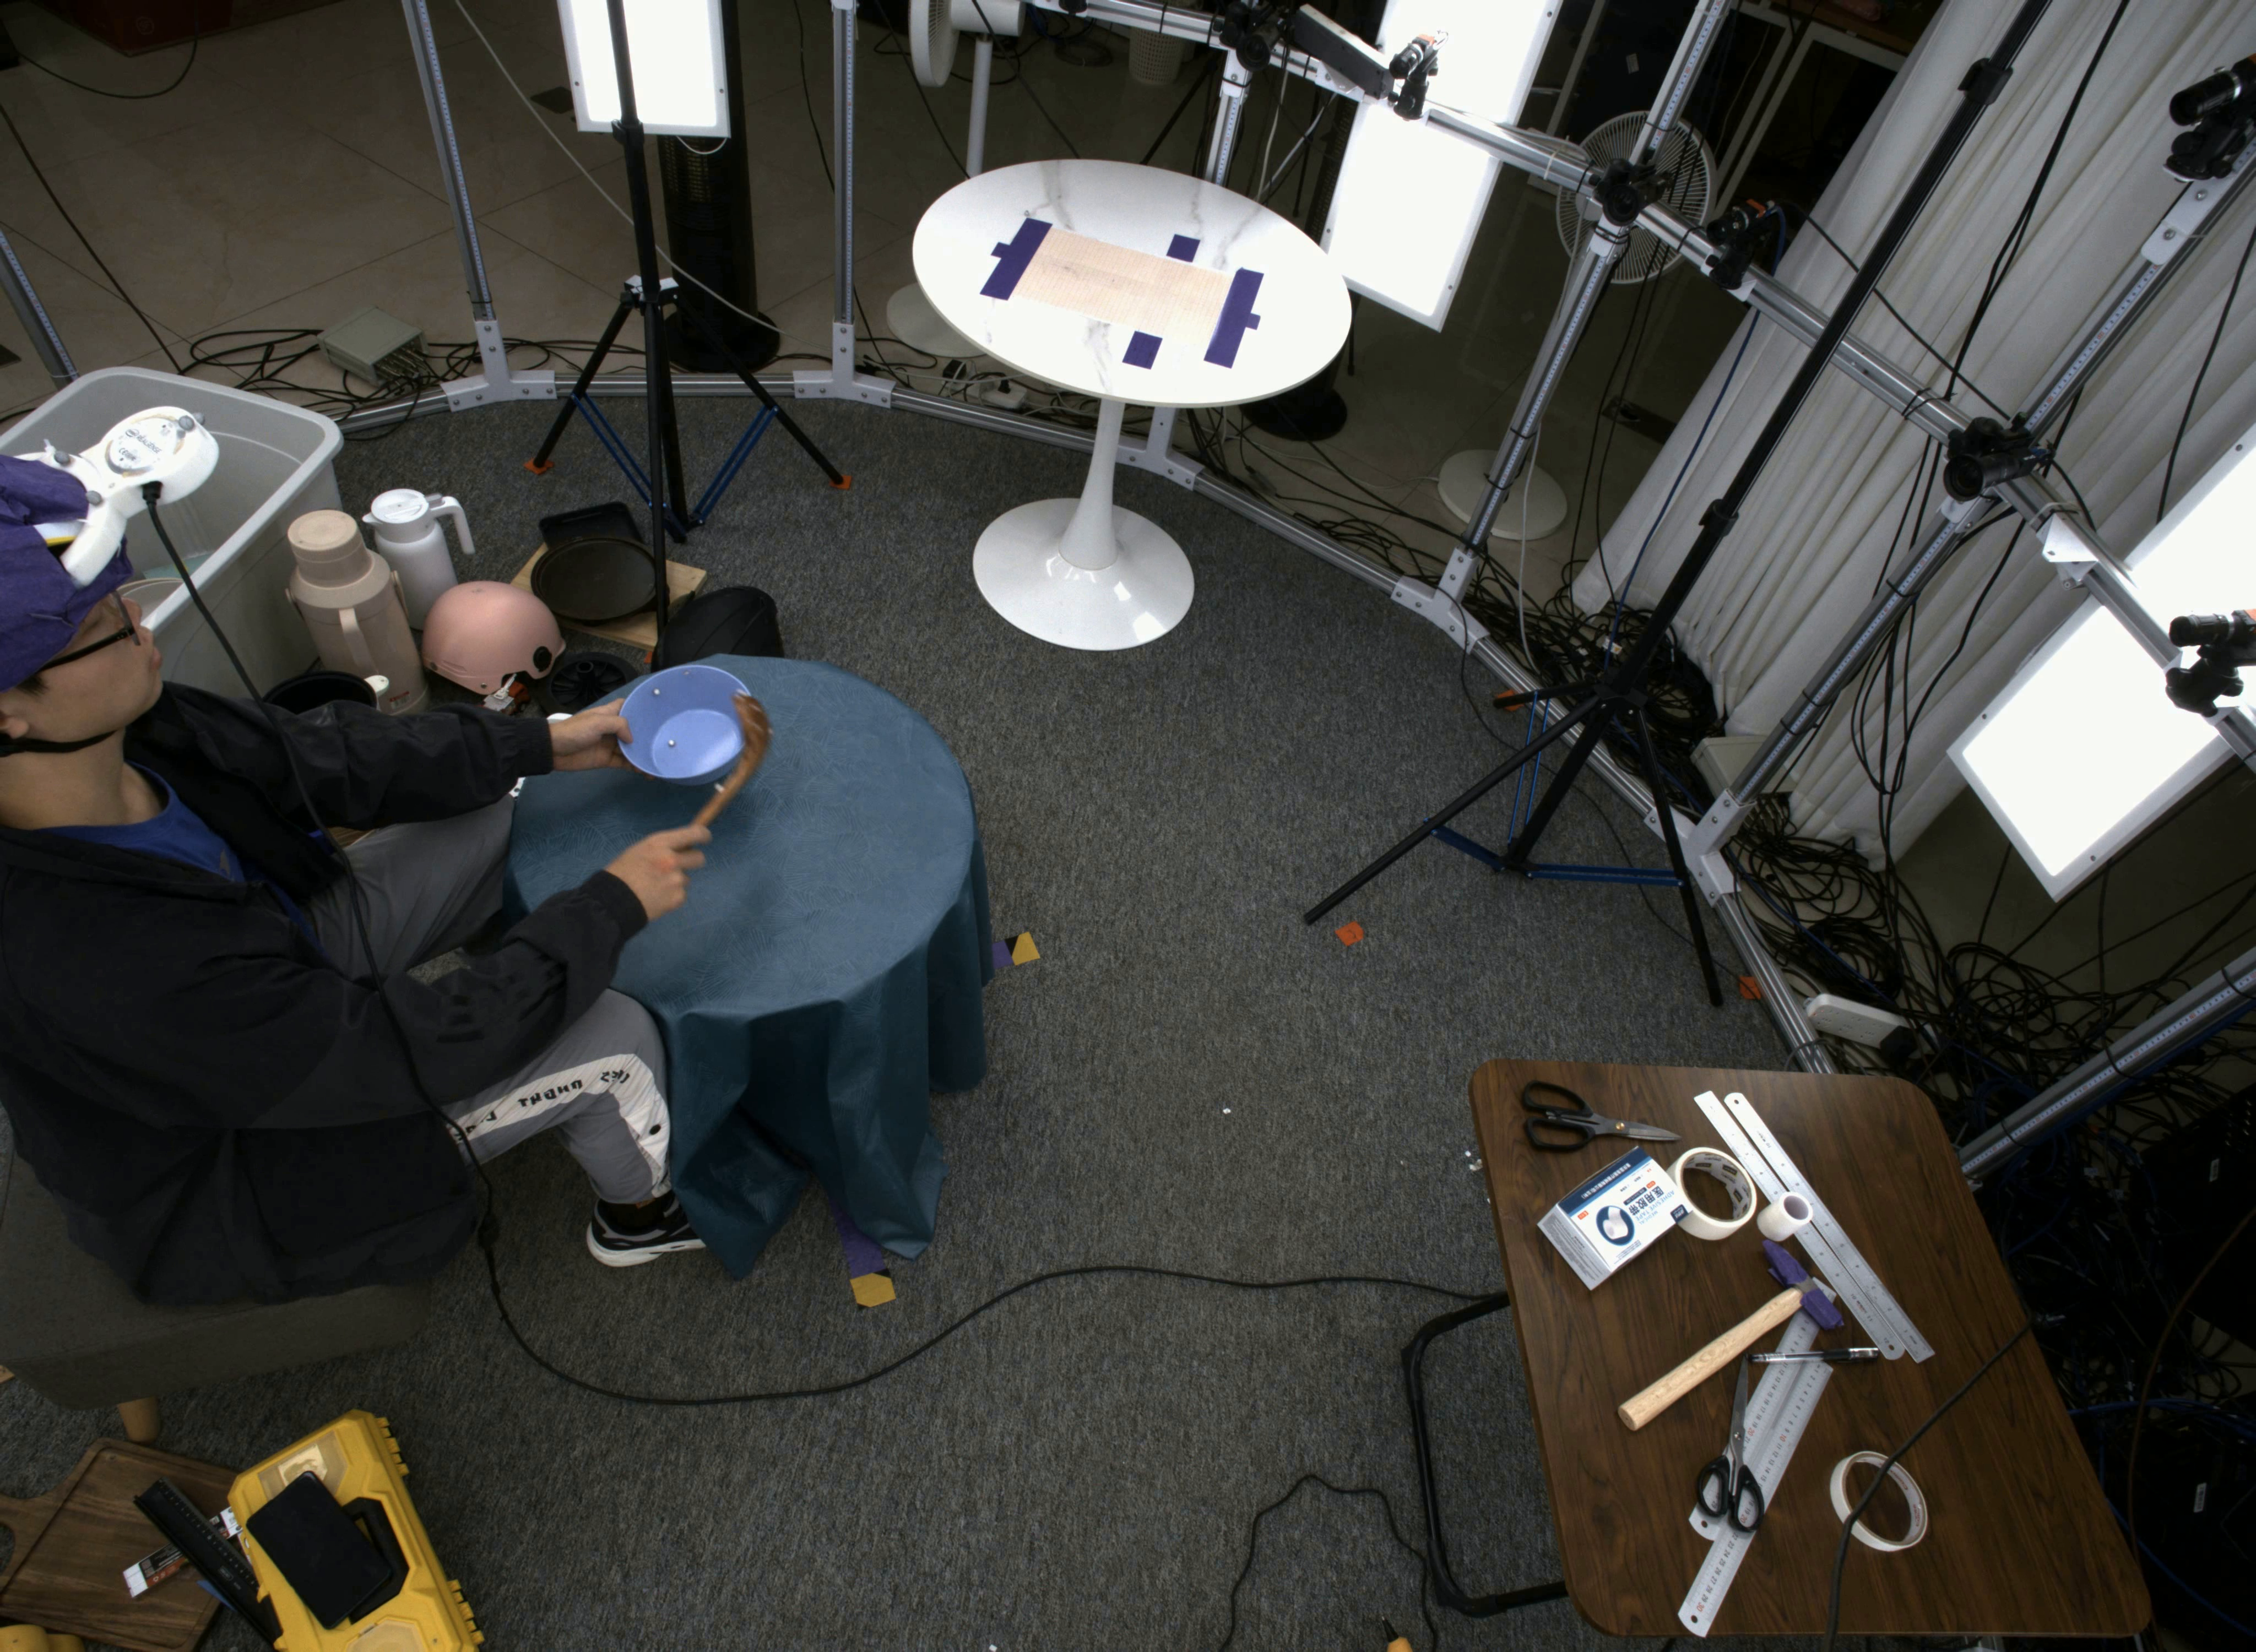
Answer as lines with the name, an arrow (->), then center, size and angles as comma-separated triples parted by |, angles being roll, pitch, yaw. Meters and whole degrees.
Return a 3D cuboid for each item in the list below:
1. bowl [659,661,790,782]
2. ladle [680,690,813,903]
bowl -> -0.523, -0.126, 1.697 | 0.174, 0.072, 0.173 | 2, 60, -2
ladle -> -0.469, -0.041, 1.546 | 0.075, 0.083, 0.274 | 34, 78, 13
